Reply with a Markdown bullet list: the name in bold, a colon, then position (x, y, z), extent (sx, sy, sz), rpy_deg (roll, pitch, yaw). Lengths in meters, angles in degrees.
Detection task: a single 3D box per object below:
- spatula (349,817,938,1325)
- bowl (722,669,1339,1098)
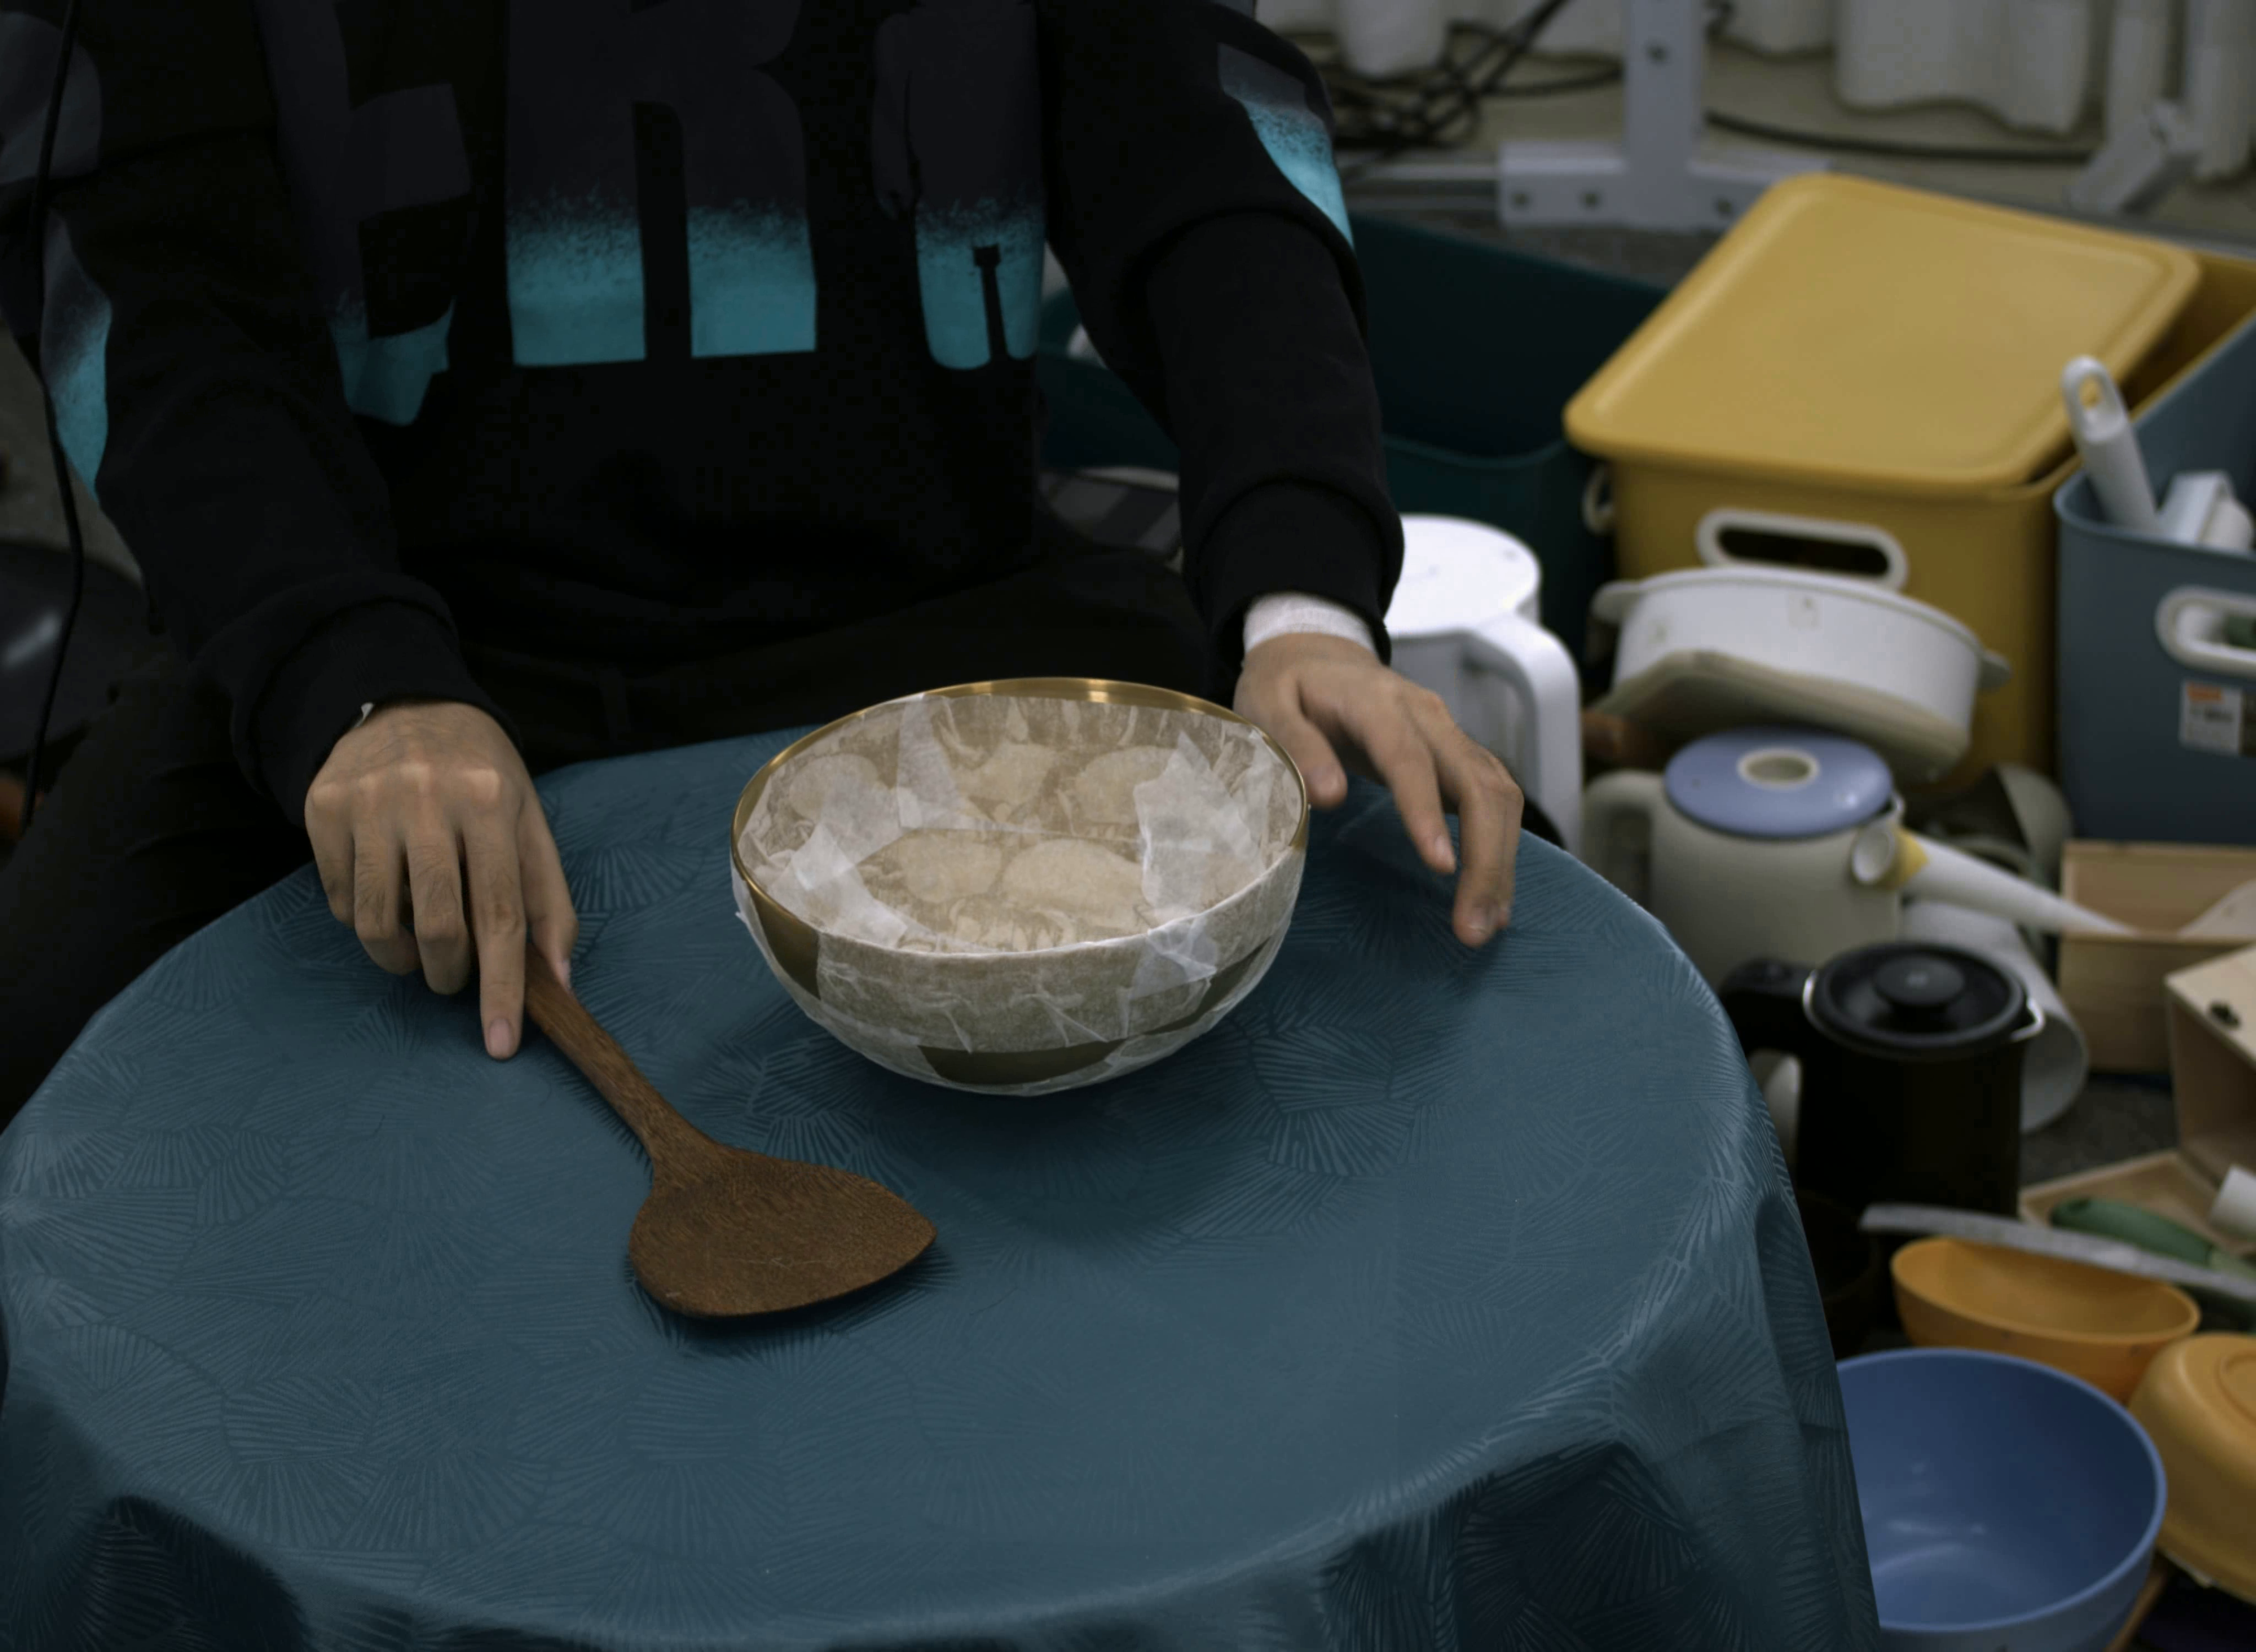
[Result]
- **spatula**: position (-0.188, 0.076, 1.944), extent (0.096, 0.015, 0.388), rpy_deg (-16, 32, -25)
- **bowl**: position (-0.032, 0.032, 1.938), extent (0.213, 0.093, 0.218), rpy_deg (-4, 27, 2)
